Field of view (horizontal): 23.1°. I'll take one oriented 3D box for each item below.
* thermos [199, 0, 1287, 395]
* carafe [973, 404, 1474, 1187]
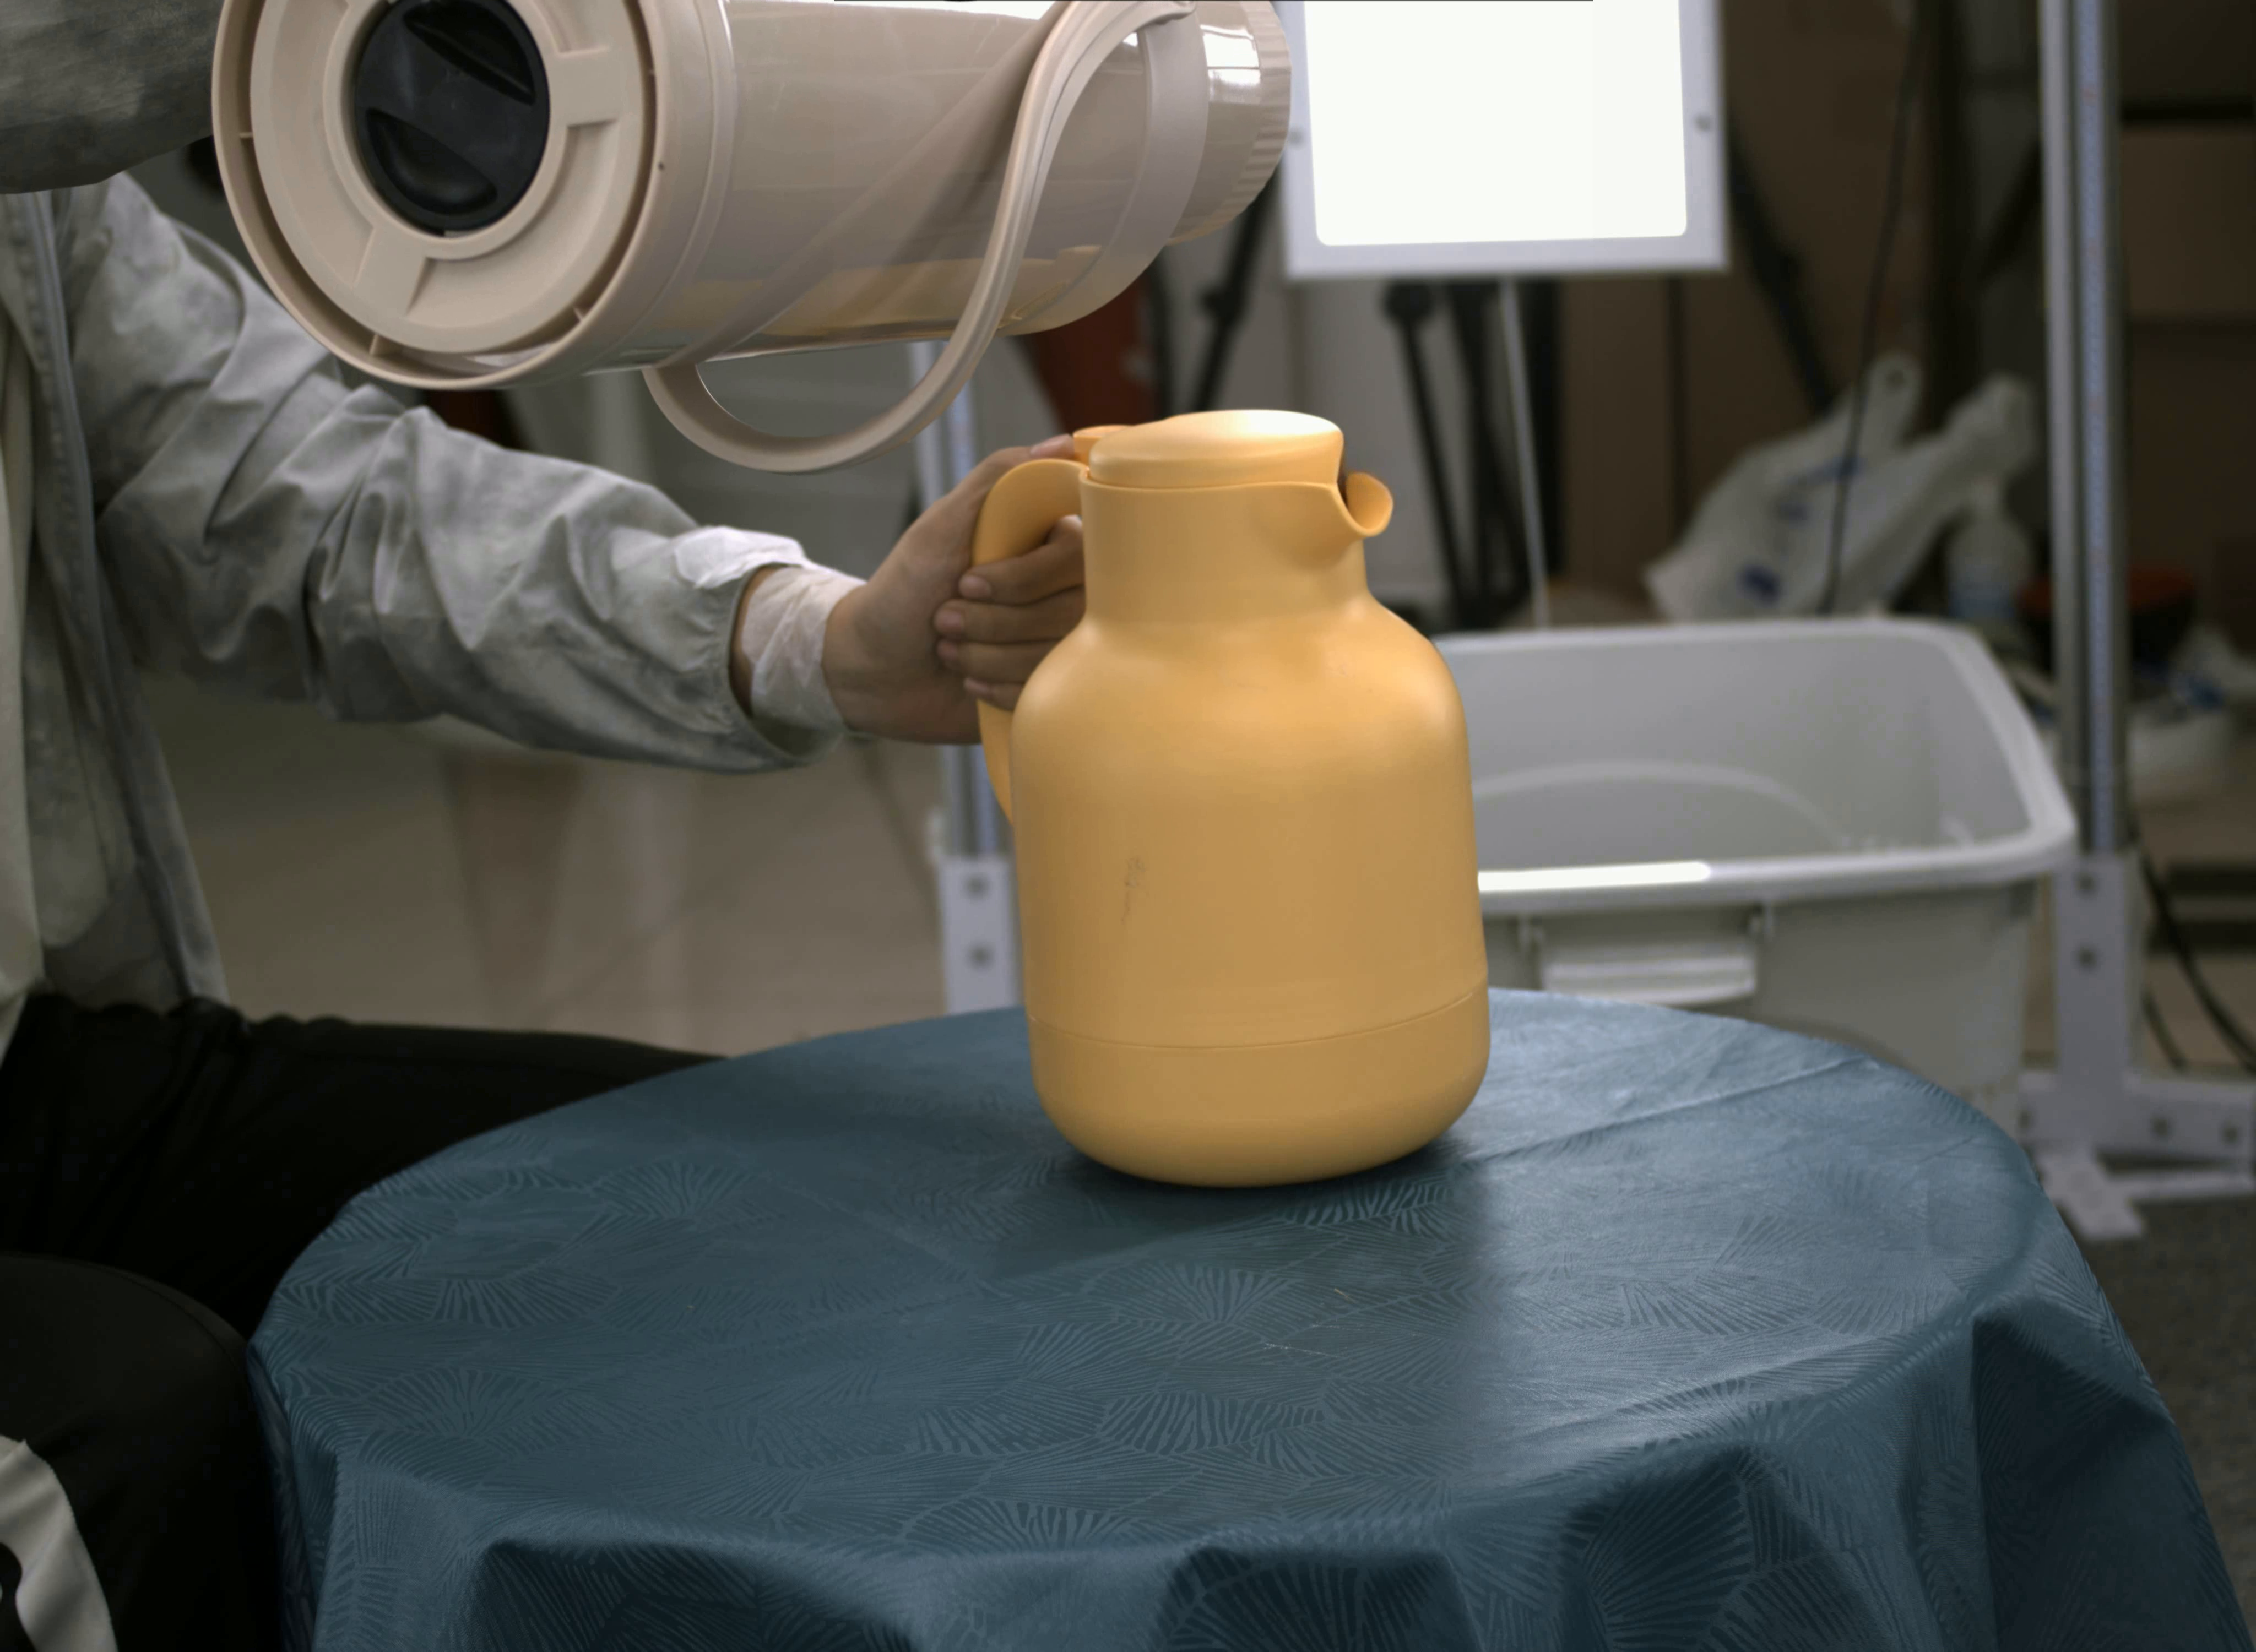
[{"bbox_3d":[-0.101,-0.237,1.691,0.179,0.207,0.396,-26,-7,34],"label":"thermos"},{"bbox_3d":[0.025,-0.017,1.924,0.159,0.261,0.206,-12,17,-39],"label":"carafe"}]
